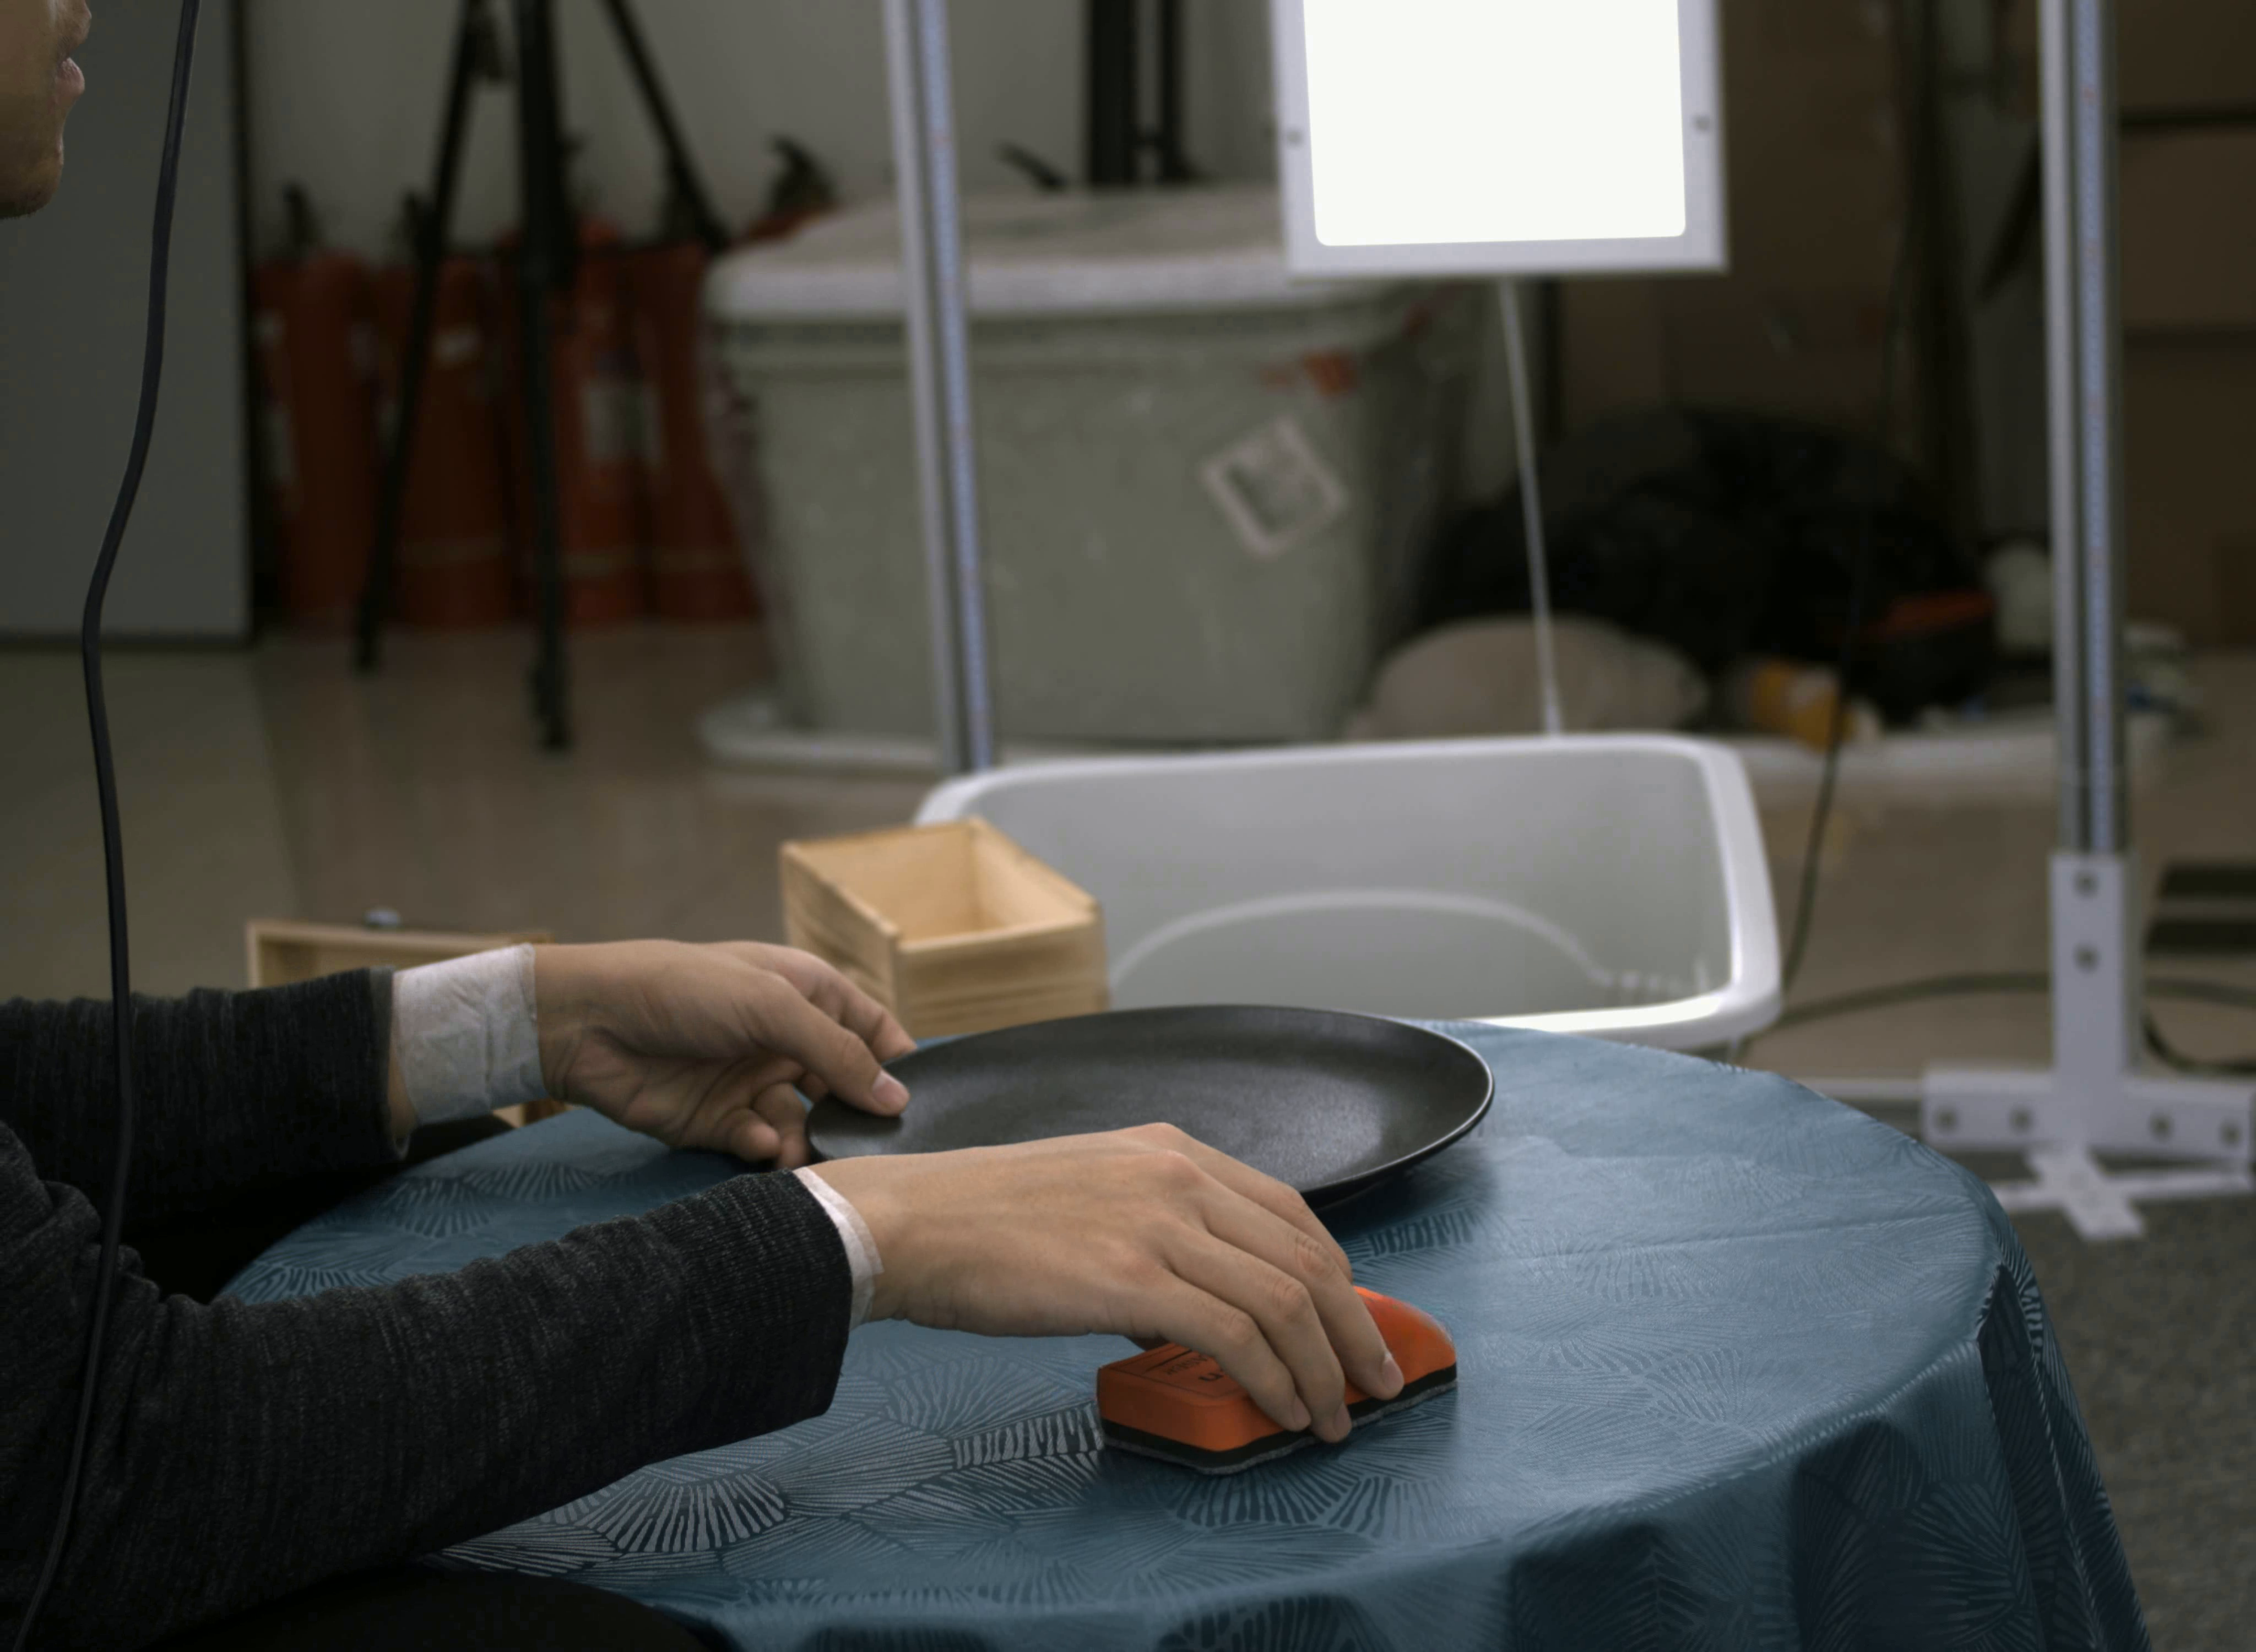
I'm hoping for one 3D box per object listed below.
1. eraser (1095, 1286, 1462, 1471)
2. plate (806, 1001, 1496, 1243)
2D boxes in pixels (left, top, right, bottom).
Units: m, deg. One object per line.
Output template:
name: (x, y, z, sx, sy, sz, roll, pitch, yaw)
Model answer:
eraser: (0.046, 0.166, 1.666, 0.105, 0.023, 0.060, -15, 15, -37)
plate: (0.008, 0.106, 1.929, 0.244, 0.023, 0.244, -5, 14, 0)
